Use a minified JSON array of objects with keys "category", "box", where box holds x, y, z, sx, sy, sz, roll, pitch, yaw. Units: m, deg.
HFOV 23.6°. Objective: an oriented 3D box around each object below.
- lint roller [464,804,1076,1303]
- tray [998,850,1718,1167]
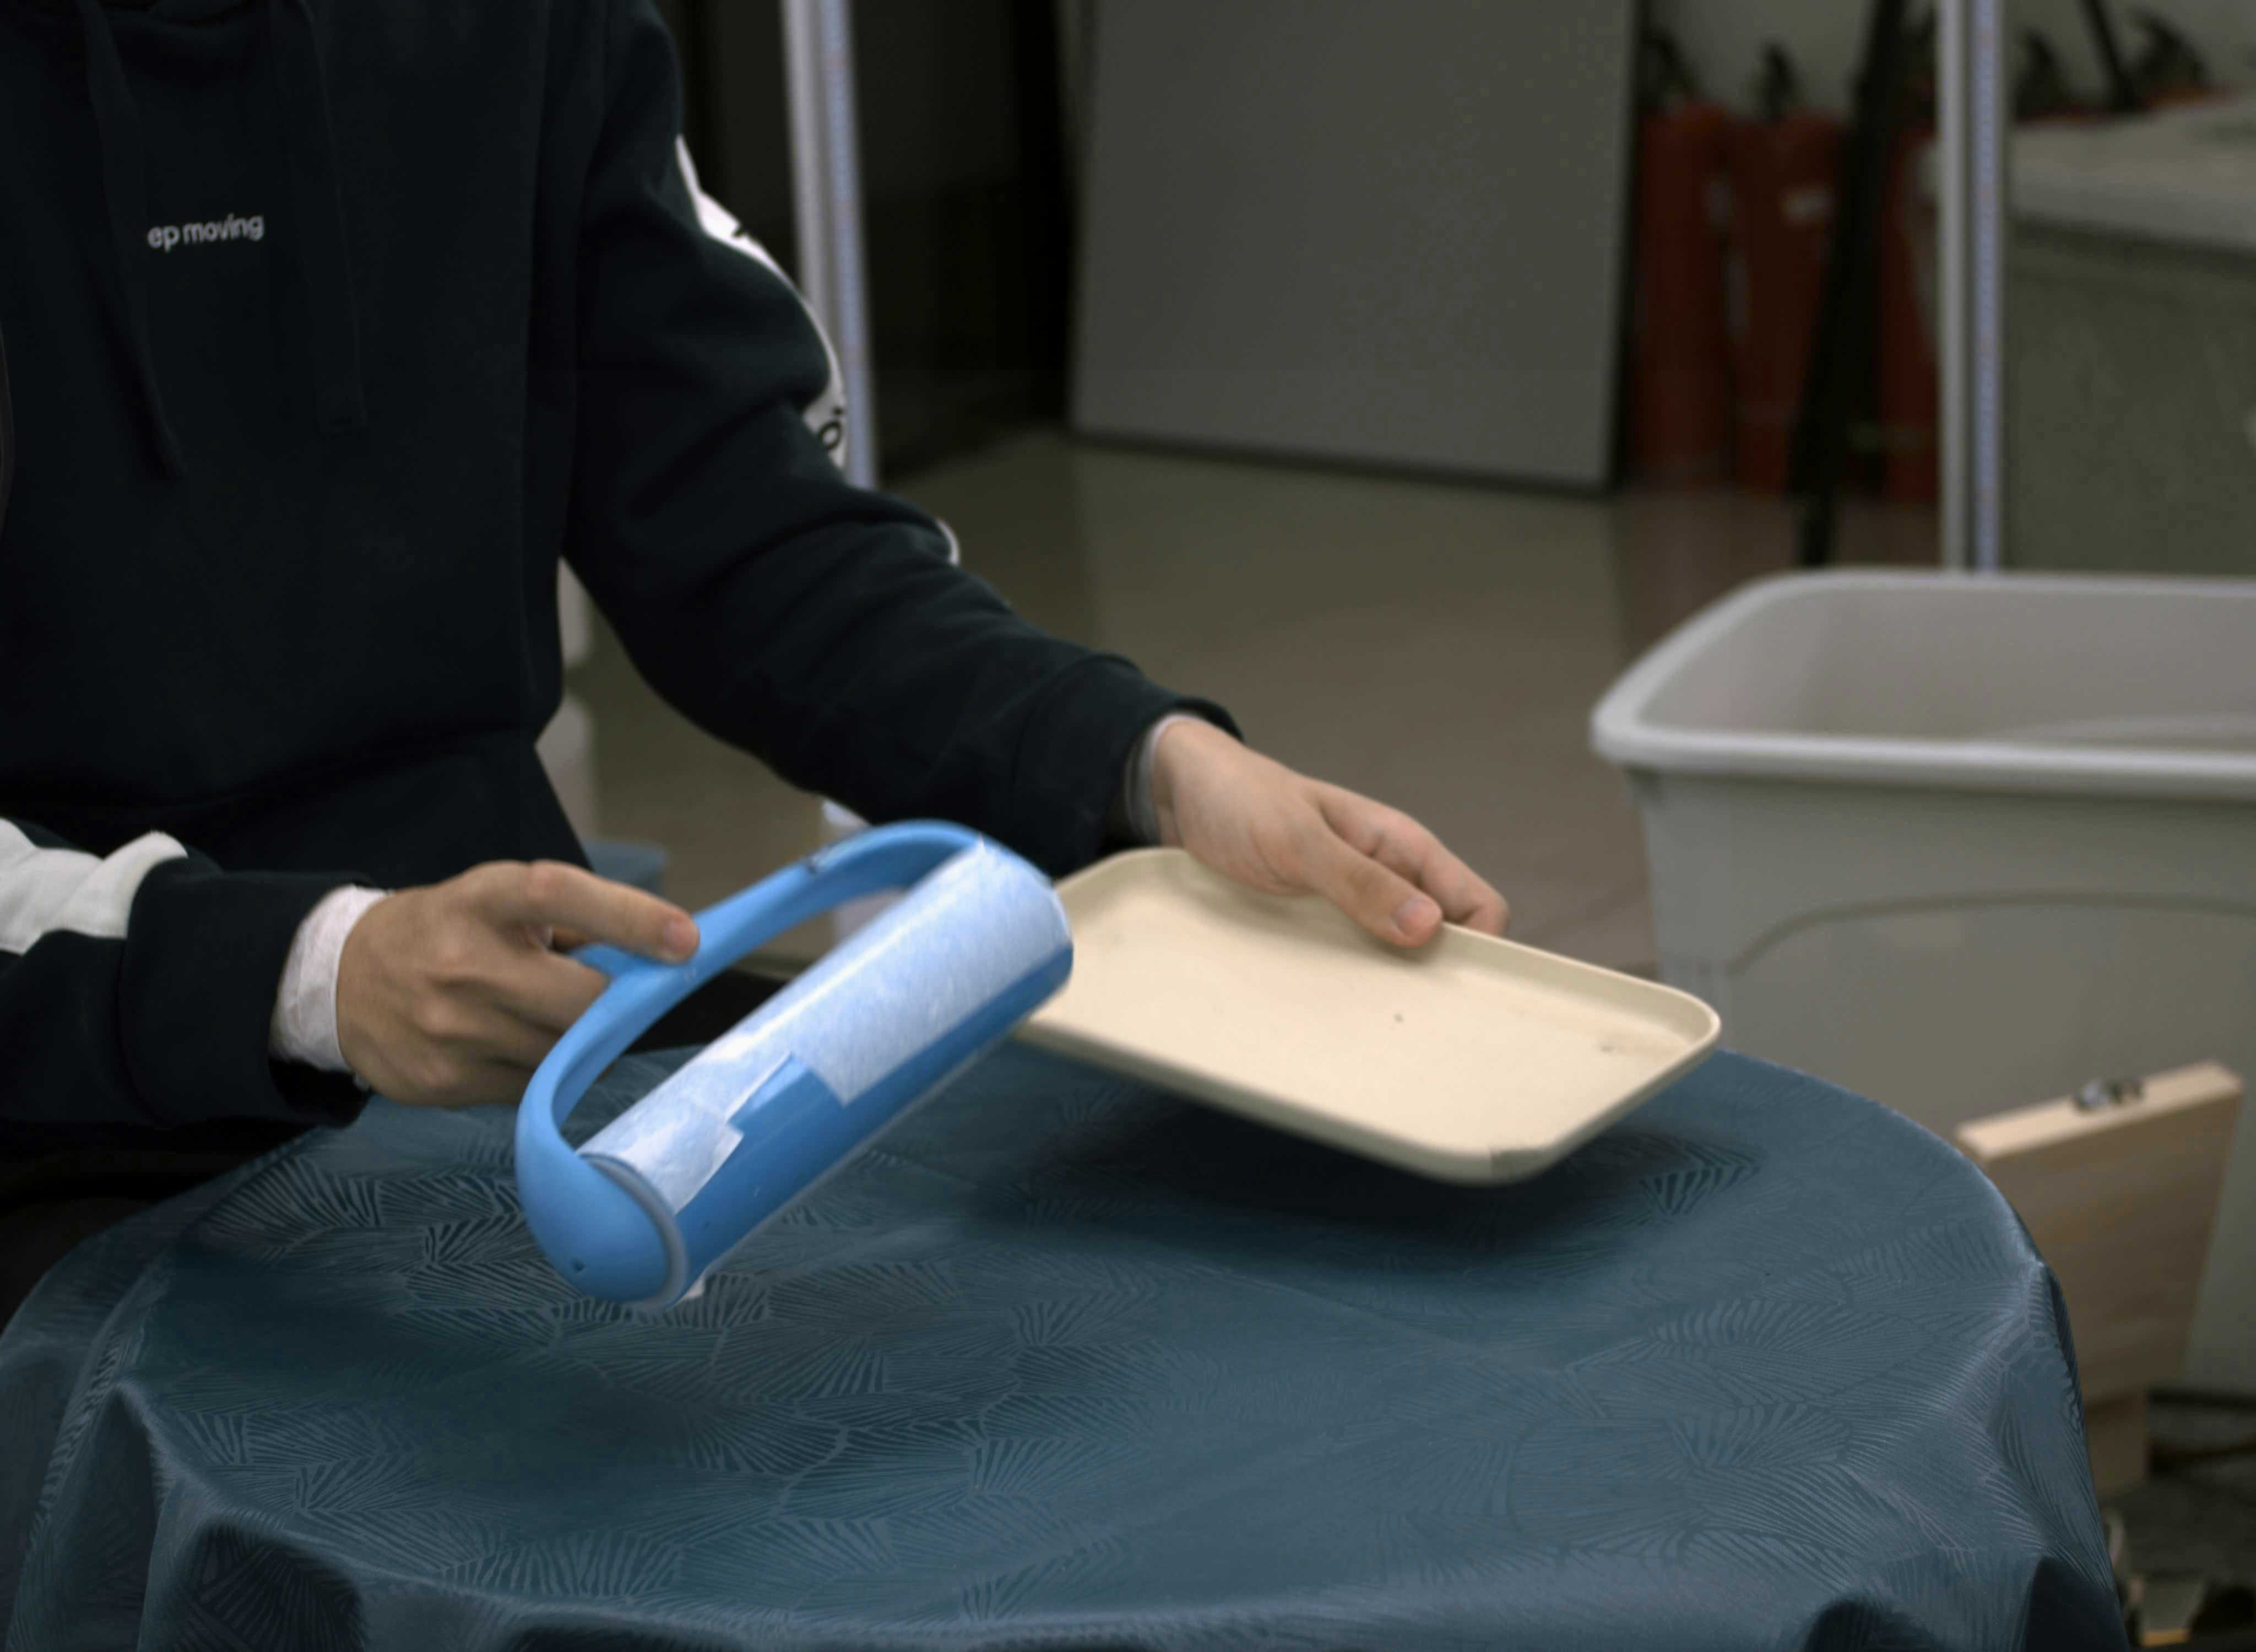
[{"category":"lint roller","box":[-0.139,0.062,1.643,0.181,0.068,0.226,7,33,34]},{"category":"tray","box":[0.063,0.059,1.780,0.241,0.018,0.168,16,21,31]}]
